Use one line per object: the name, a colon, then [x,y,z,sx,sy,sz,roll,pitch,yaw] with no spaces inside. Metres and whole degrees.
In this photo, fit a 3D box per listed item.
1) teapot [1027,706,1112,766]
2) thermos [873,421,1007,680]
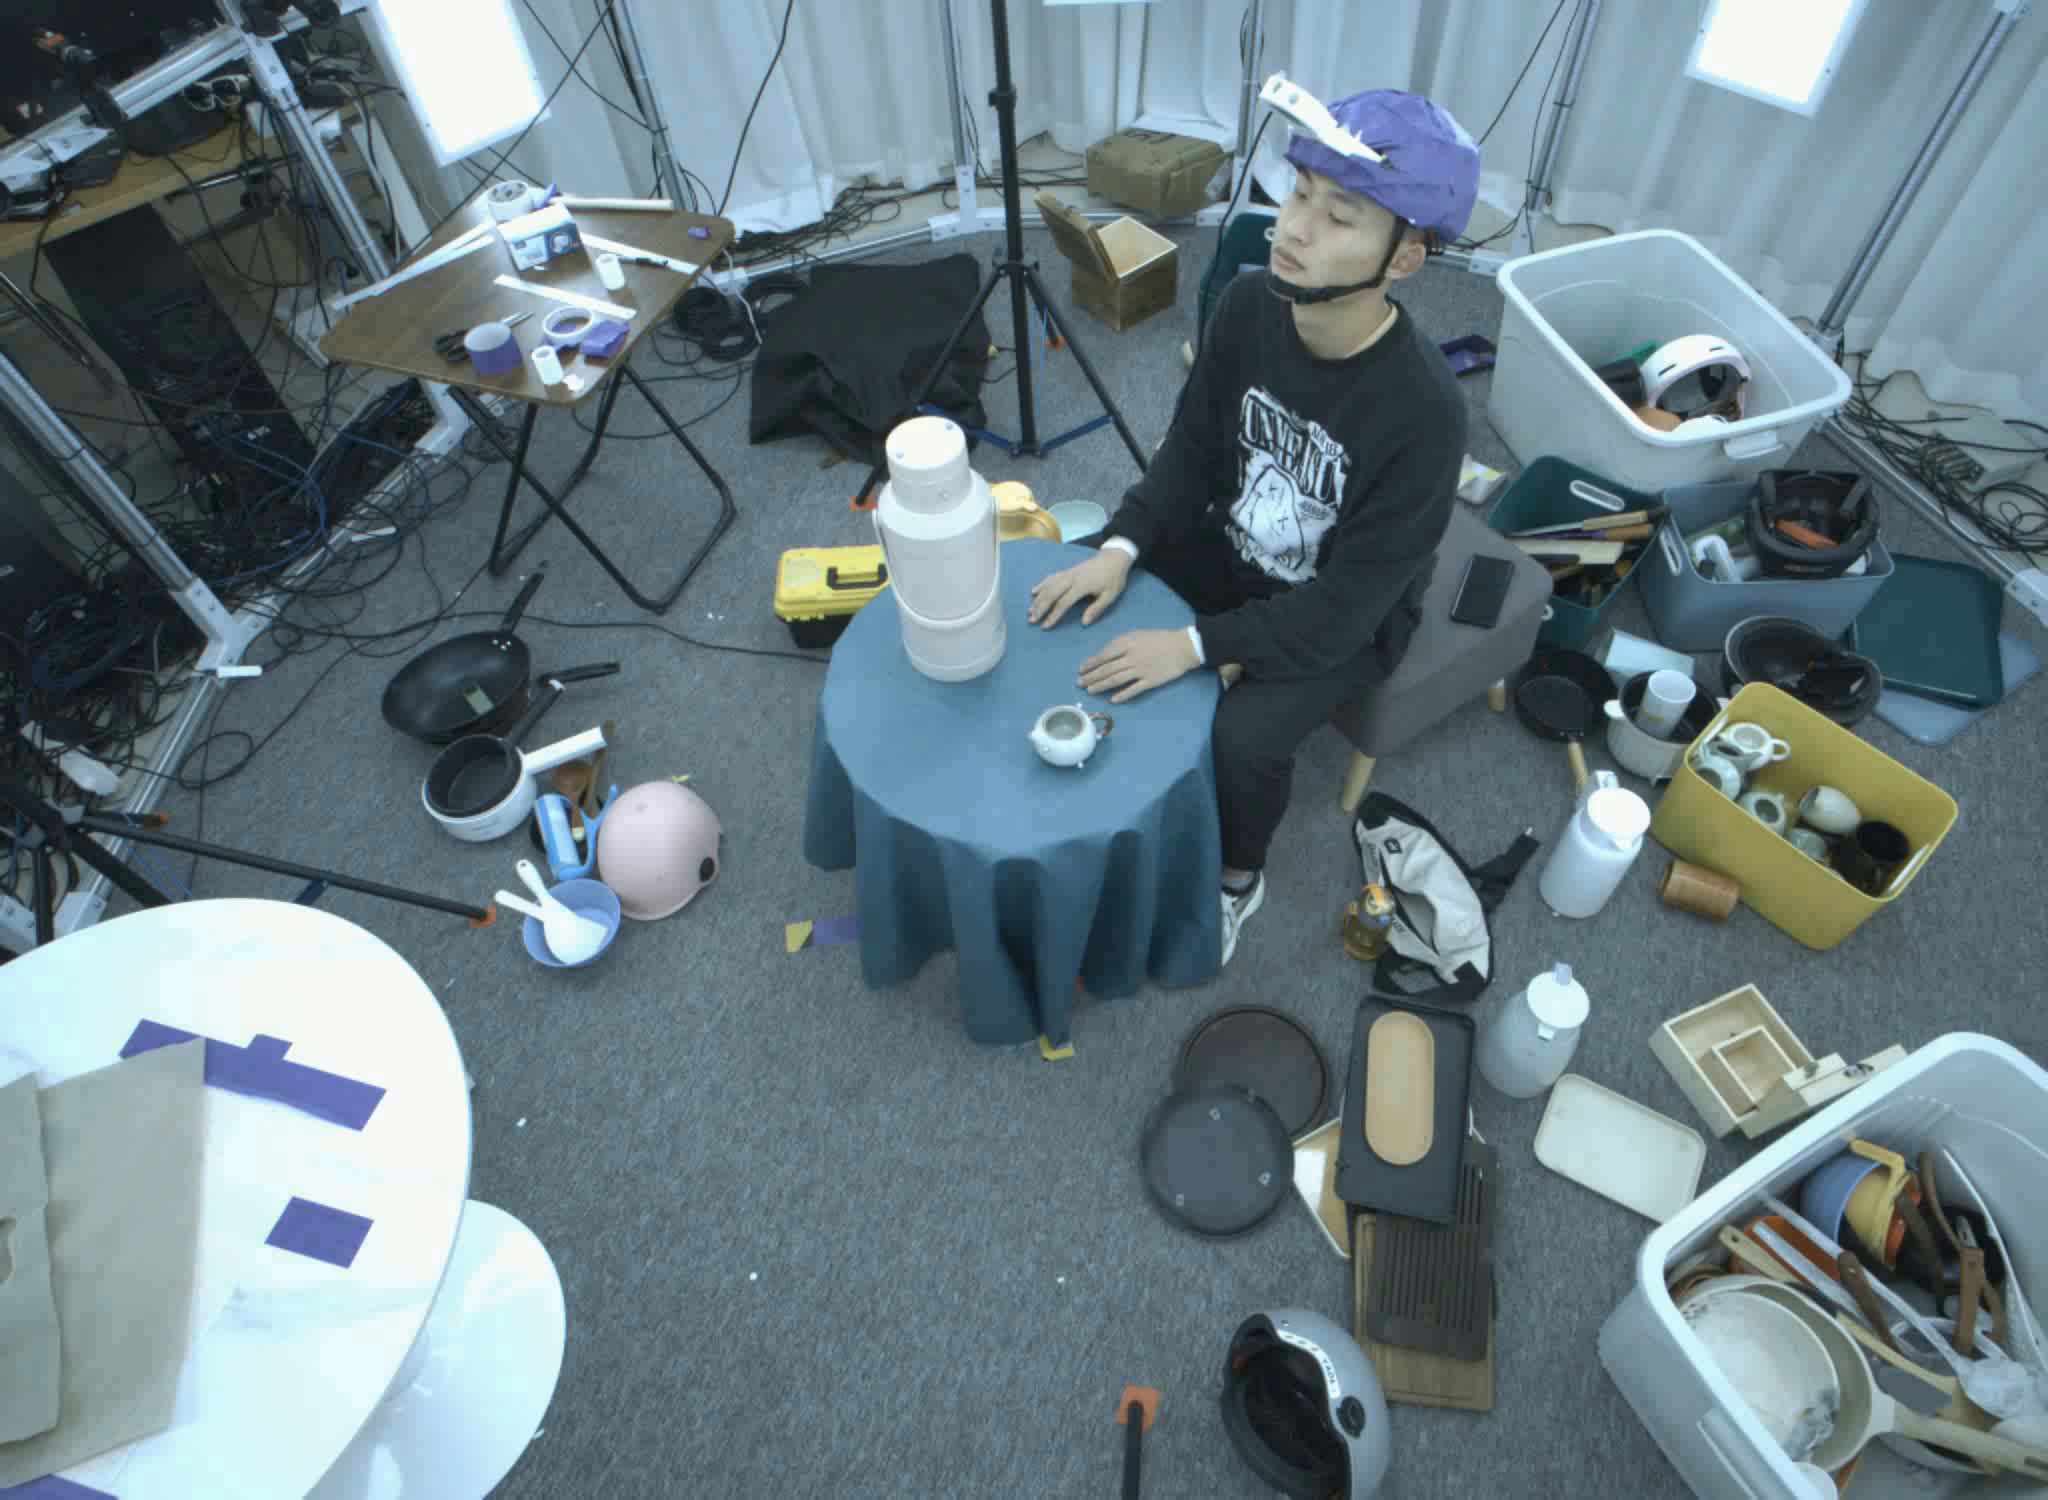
teapot: [0.066,-0.023,1.761,0.129,0.060,0.090,-19,52,-10]
thermos: [-0.117,-0.297,1.754,0.175,0.411,0.204,-8,55,0]
